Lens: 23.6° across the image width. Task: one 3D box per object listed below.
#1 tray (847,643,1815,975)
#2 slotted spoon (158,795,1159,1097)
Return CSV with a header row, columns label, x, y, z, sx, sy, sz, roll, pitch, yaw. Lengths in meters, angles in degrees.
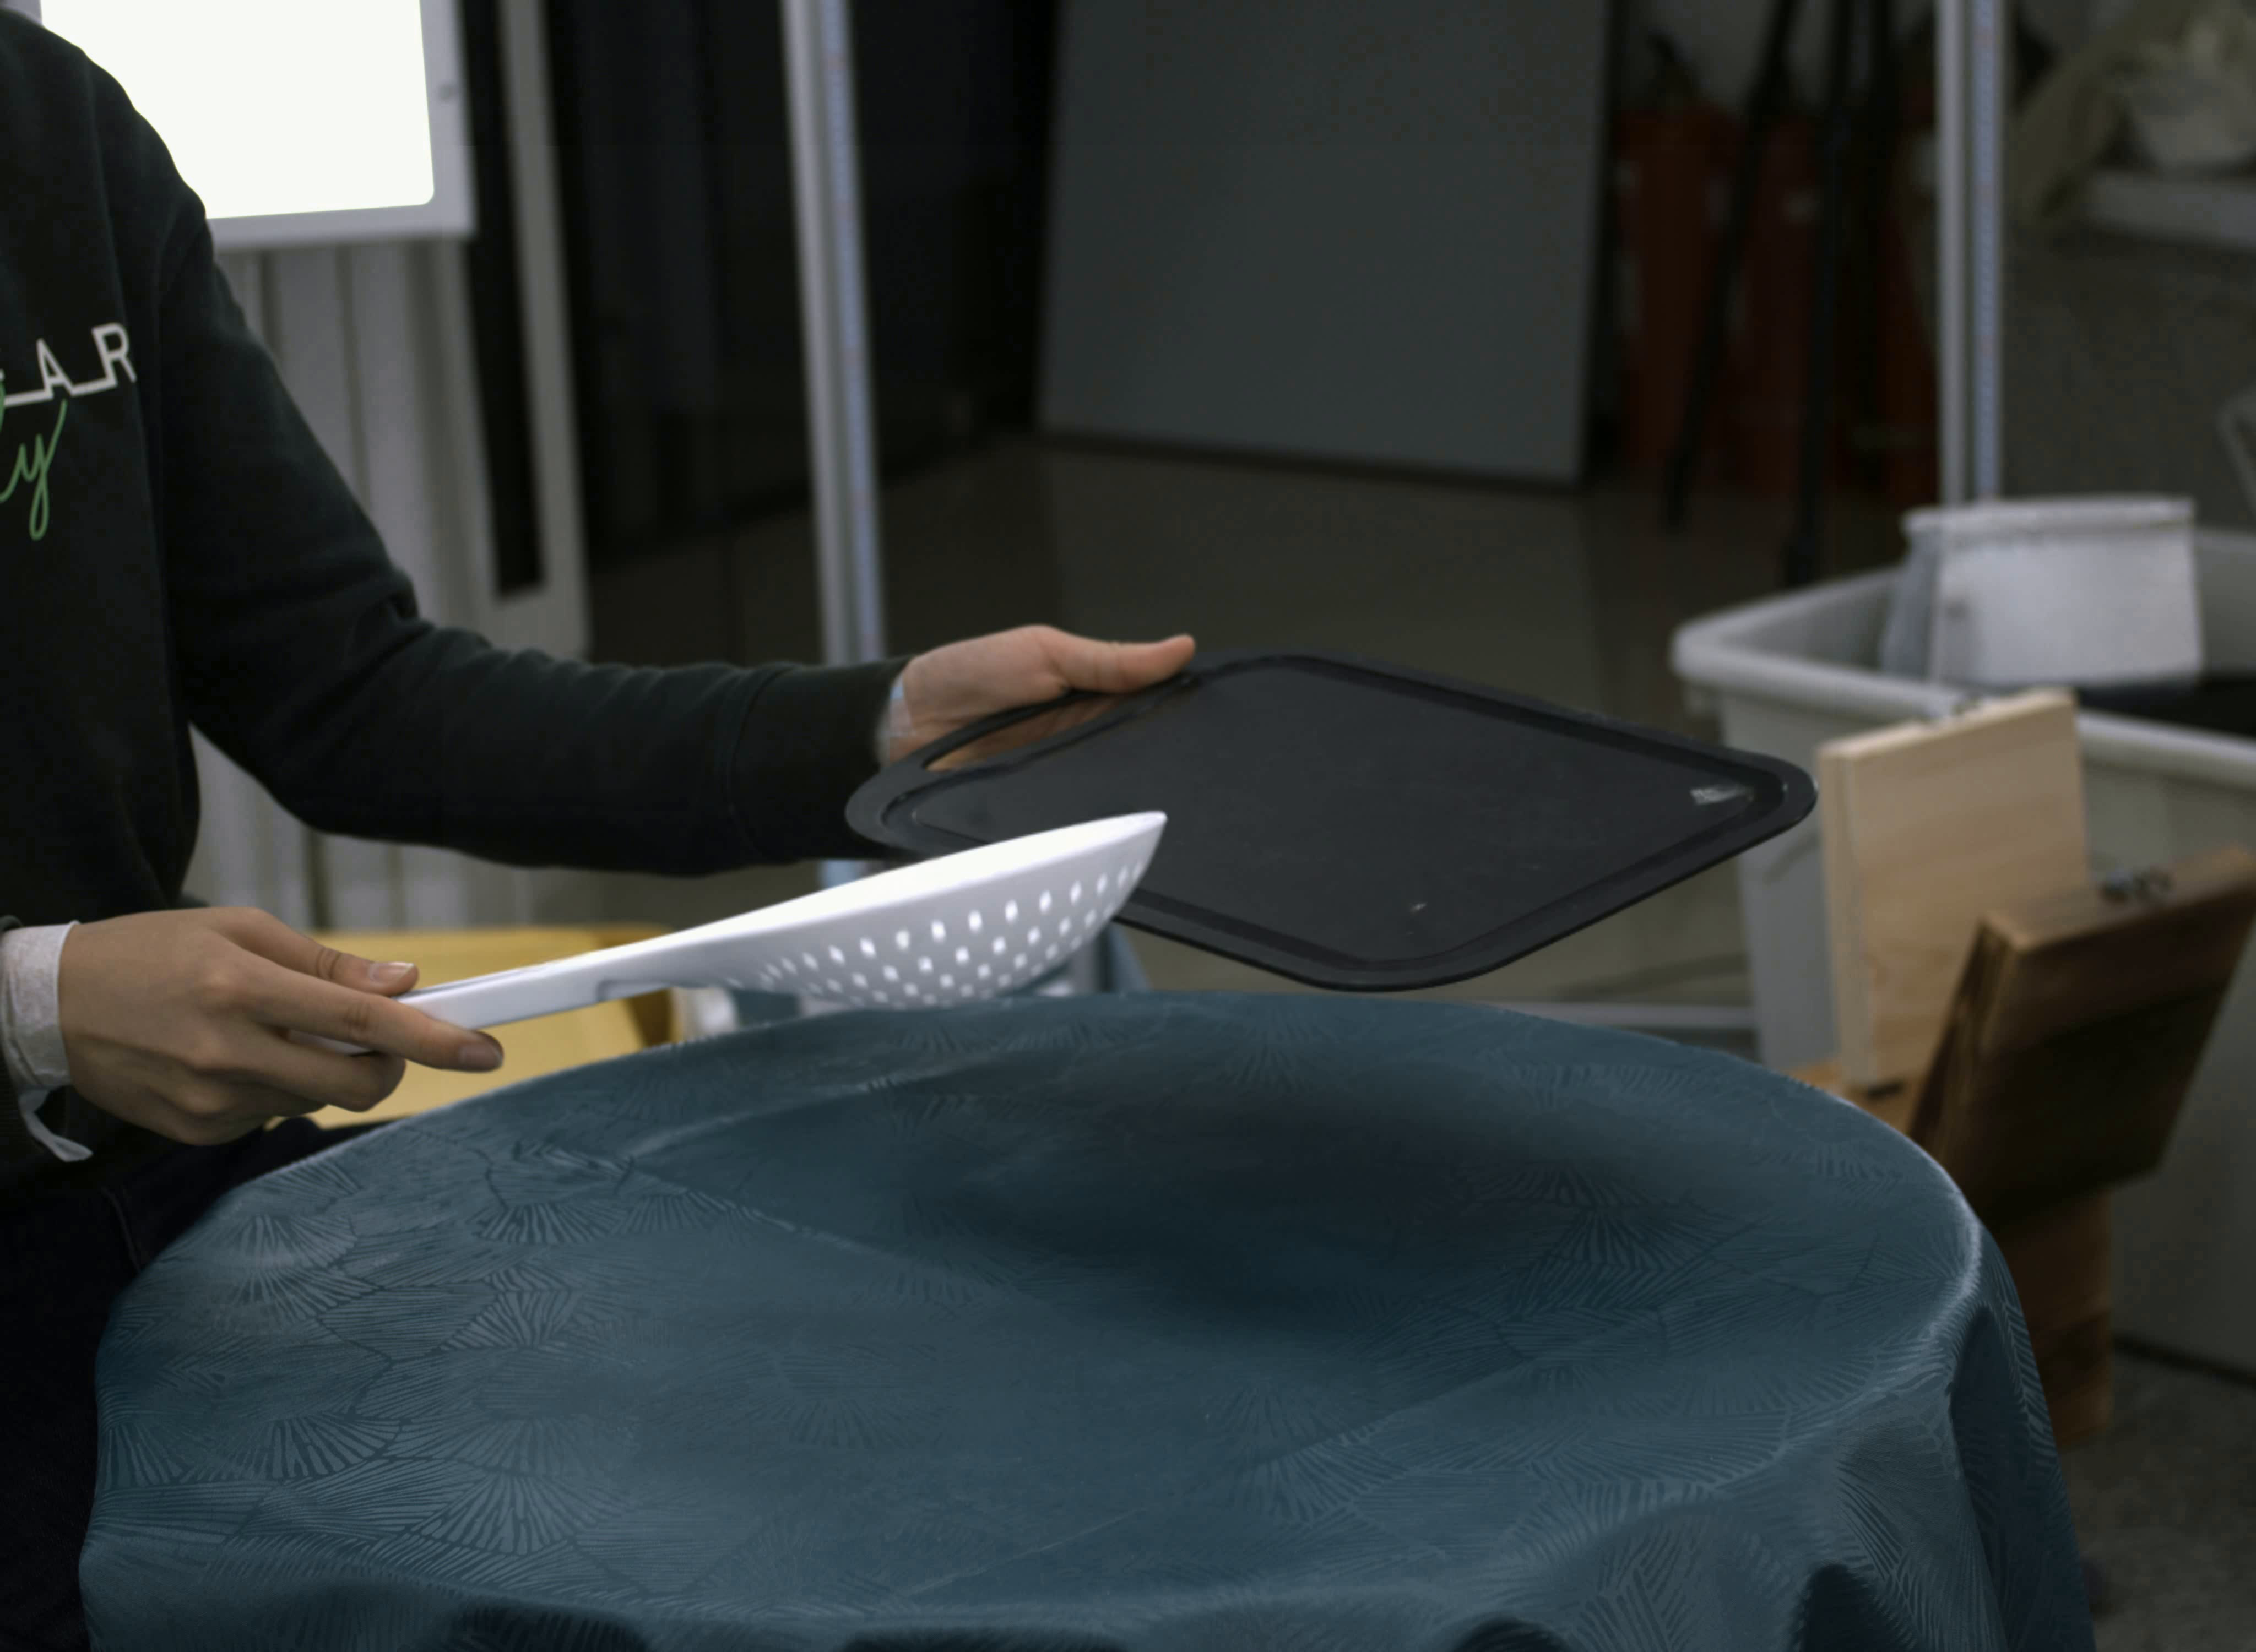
label,x,y,z,sx,sy,sz,roll,pitch,yaw
tray,0.055,-0.012,1.768,0.207,0.010,0.329,-23,24,-33
slotted spoon,-0.148,0.039,1.640,0.350,0.046,0.134,-9,3,26
